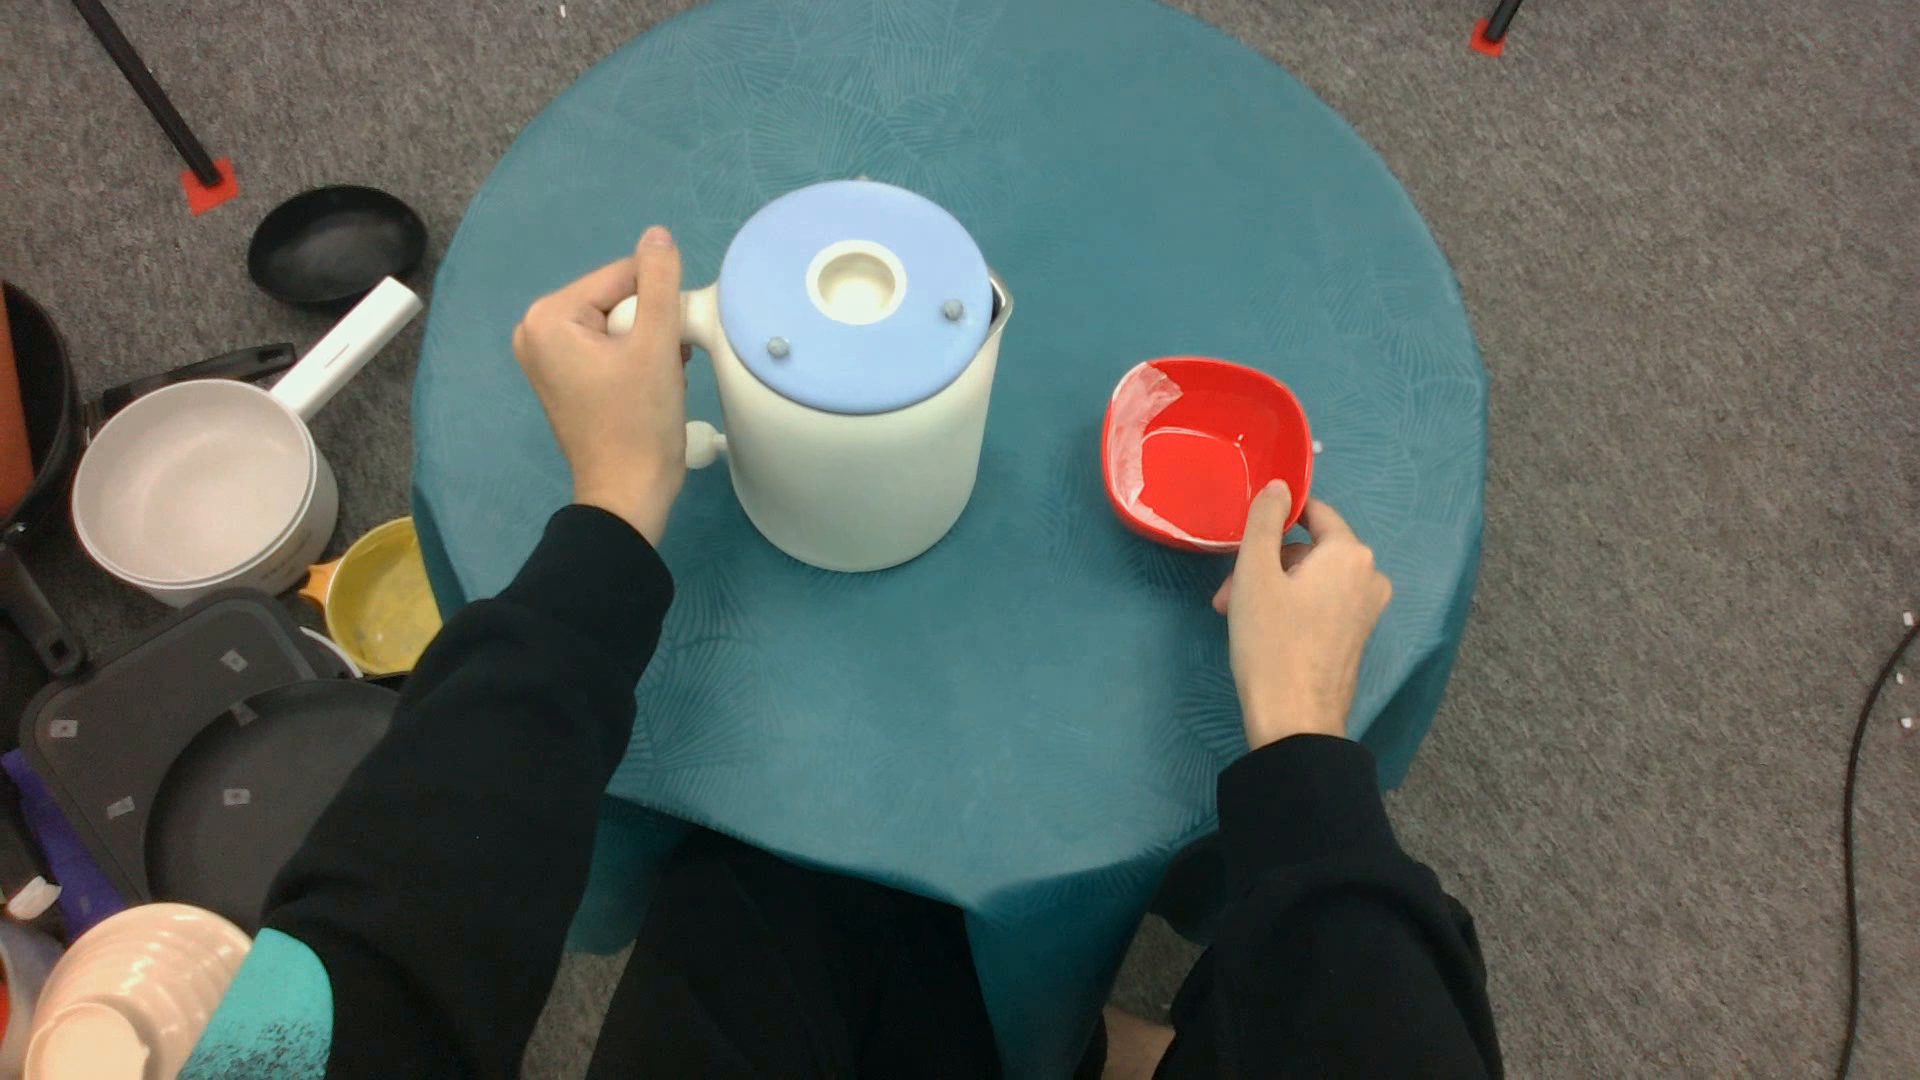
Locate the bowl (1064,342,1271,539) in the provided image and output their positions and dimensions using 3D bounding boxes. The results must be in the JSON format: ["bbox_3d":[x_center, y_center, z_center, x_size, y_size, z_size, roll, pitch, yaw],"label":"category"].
[{"bbox_3d":[0.105,-0.045,0.734,0.119,0.051,0.119,4,63,-9],"label":"bowl"}]

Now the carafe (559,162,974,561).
[{"bbox_3d":[-0.093,-0.080,0.661,0.191,0.182,0.132,-1,65,-4],"label":"carafe"}]
